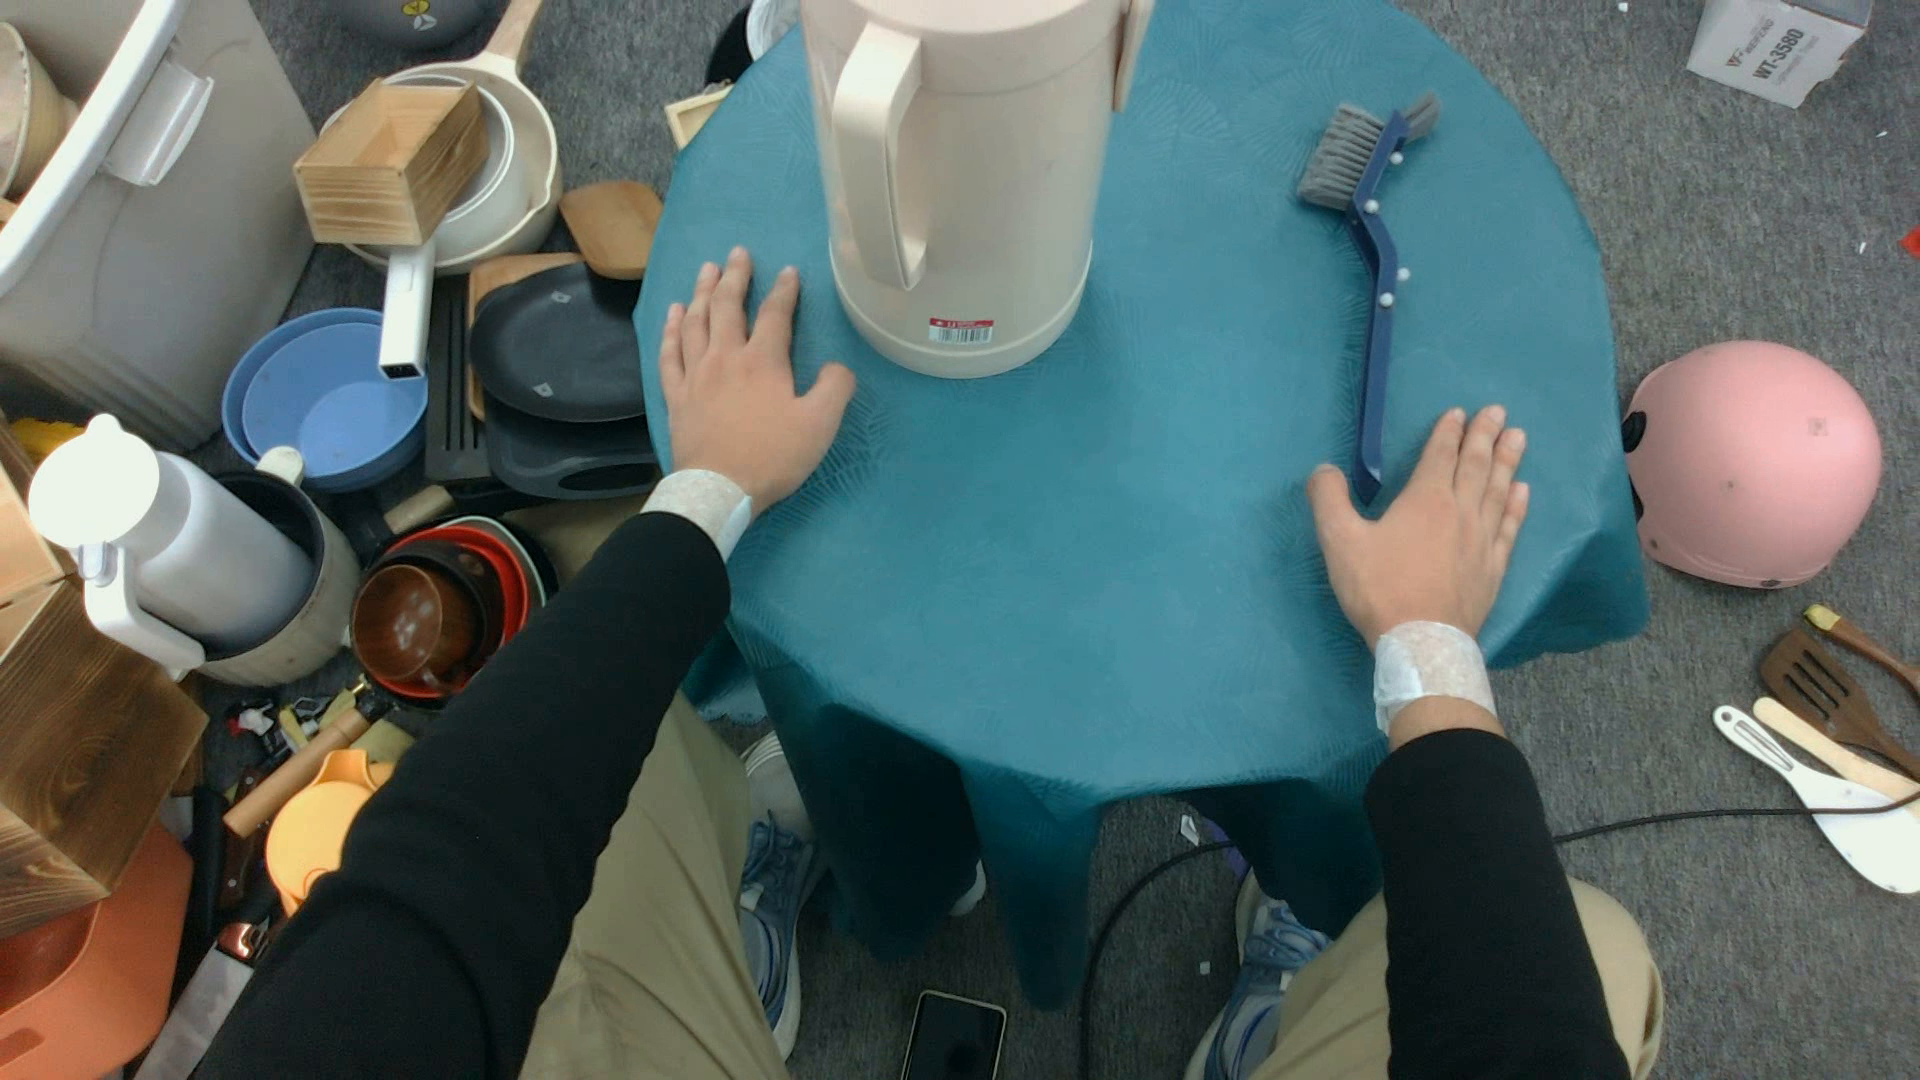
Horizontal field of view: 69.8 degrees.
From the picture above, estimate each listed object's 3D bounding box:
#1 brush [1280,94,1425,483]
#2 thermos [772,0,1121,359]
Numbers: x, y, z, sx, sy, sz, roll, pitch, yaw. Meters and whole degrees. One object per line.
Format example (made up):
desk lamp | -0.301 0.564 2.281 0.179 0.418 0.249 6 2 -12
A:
brush | 0.249 -0.162 0.842 0.096 0.033 0.274 2 67 0
thermos | -0.018 -0.237 0.668 0.175 0.405 0.208 21 70 4
